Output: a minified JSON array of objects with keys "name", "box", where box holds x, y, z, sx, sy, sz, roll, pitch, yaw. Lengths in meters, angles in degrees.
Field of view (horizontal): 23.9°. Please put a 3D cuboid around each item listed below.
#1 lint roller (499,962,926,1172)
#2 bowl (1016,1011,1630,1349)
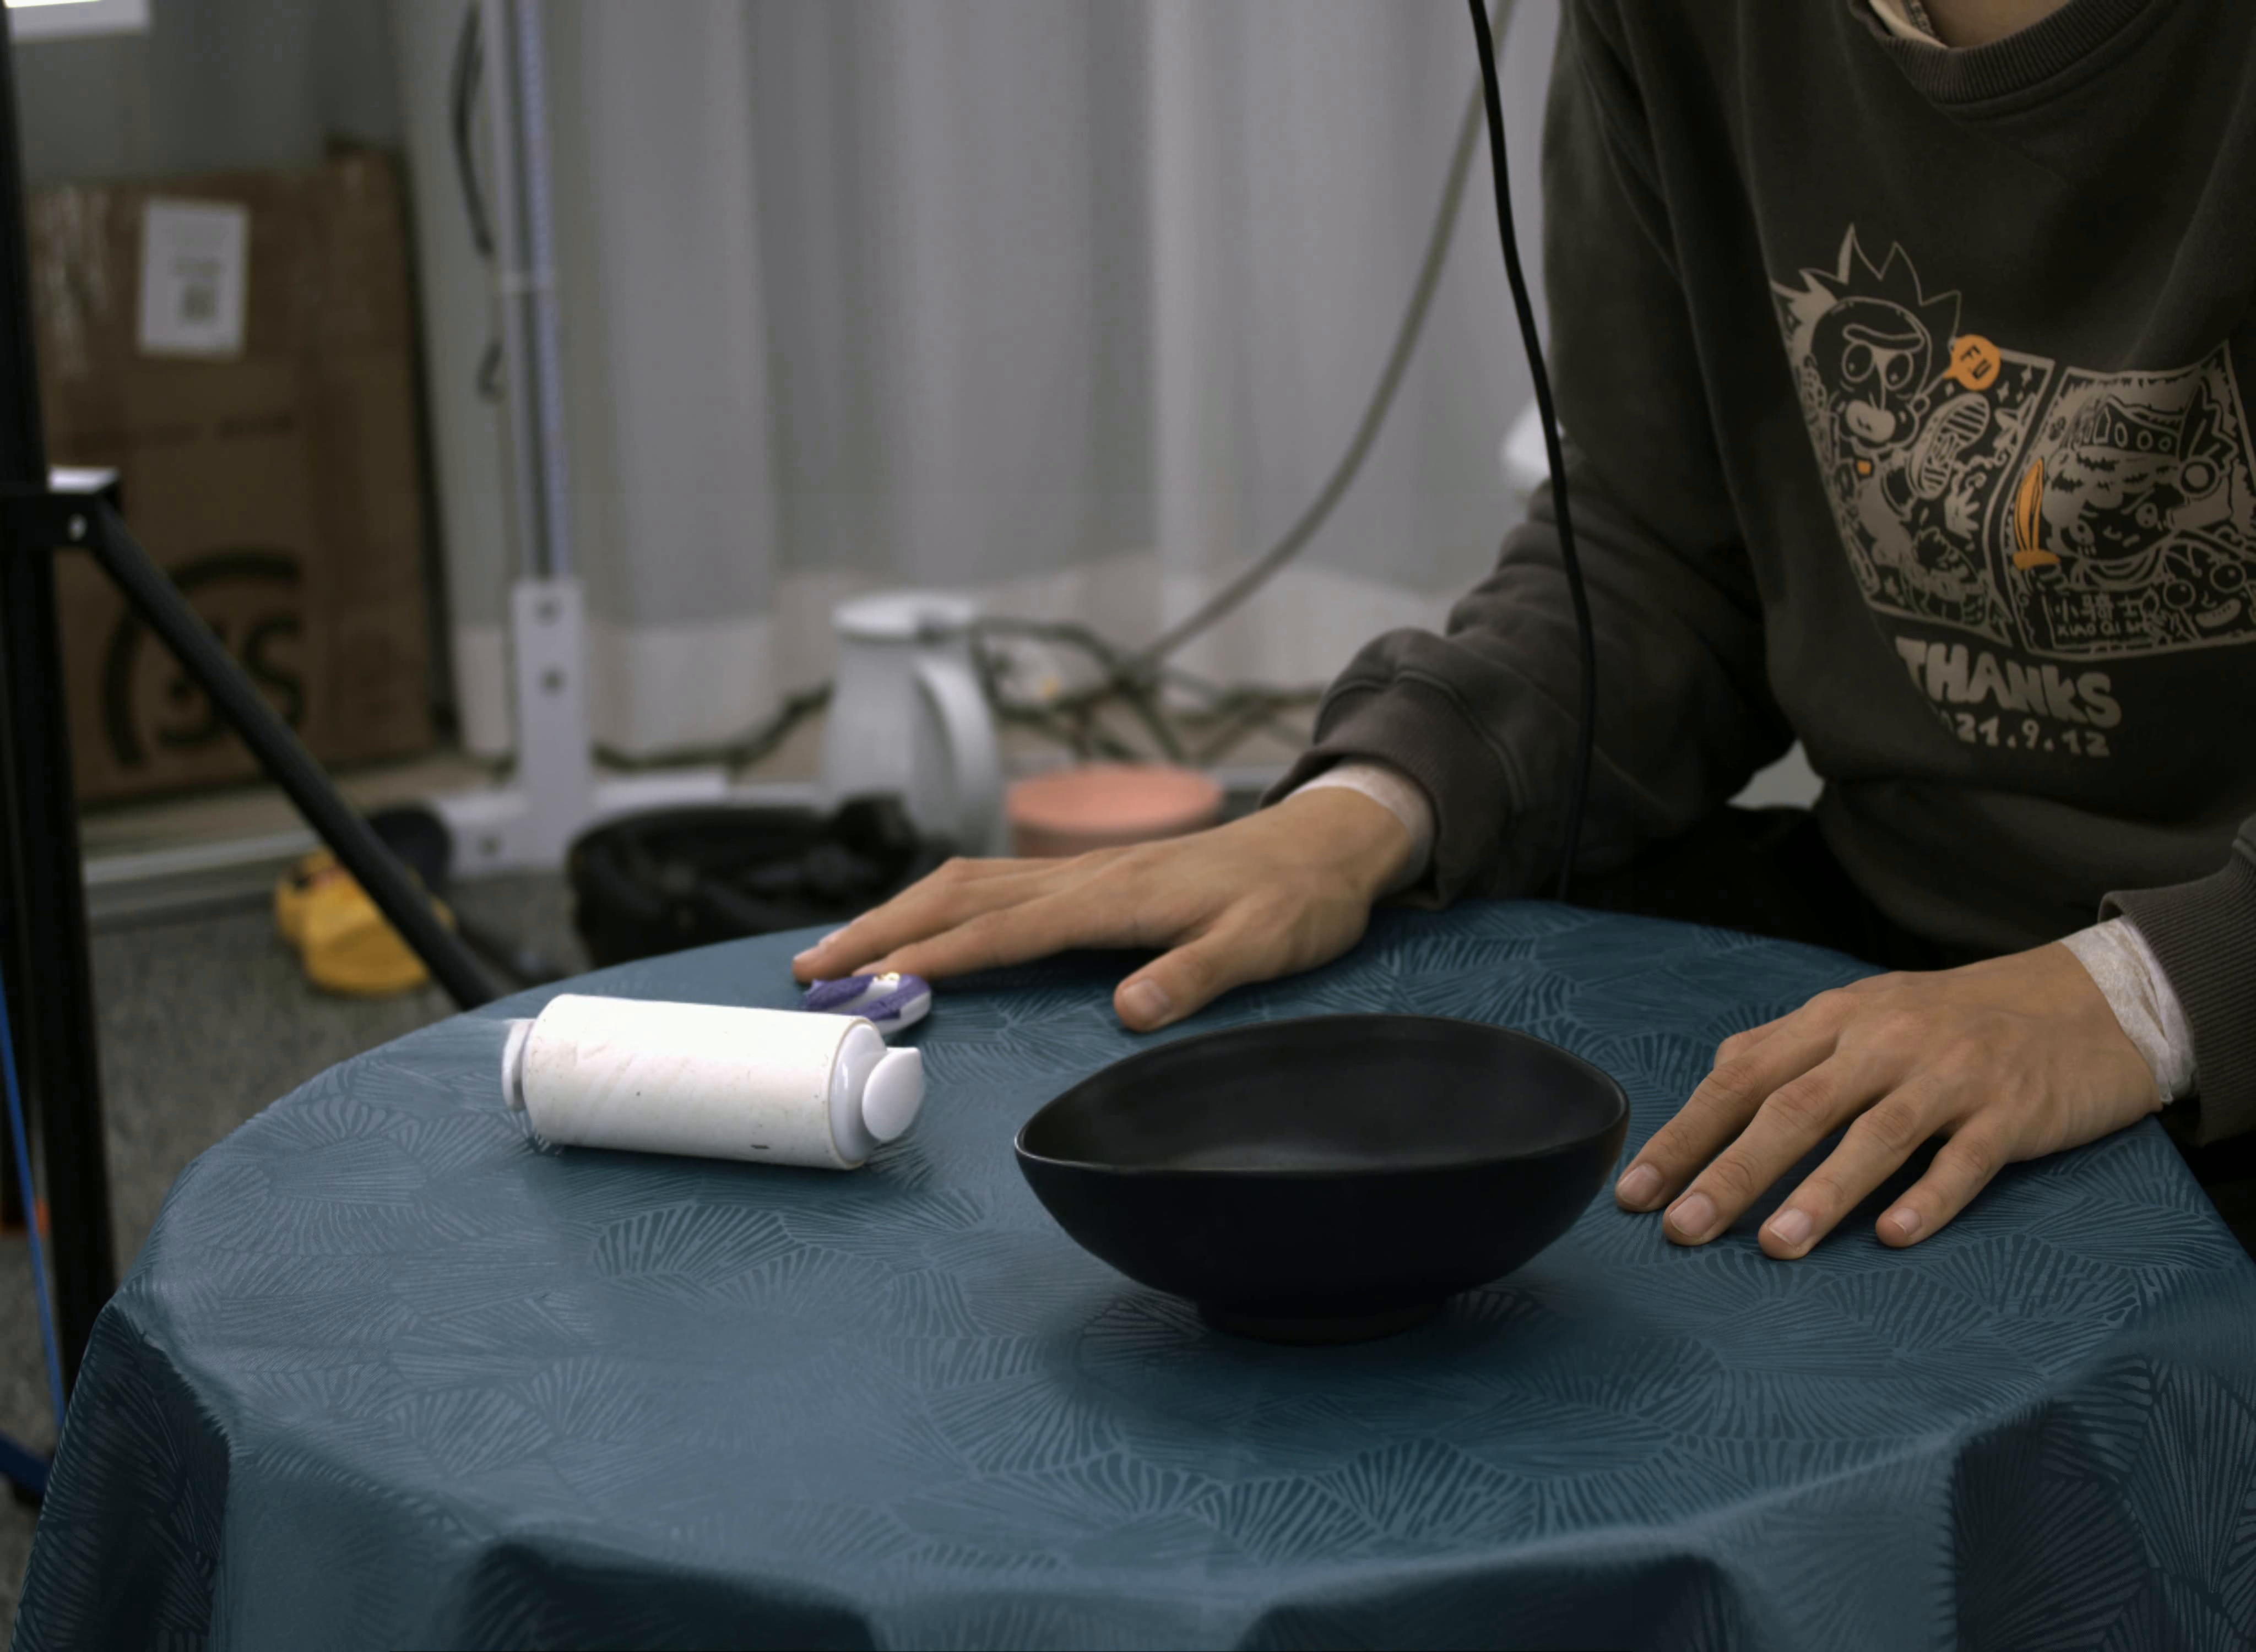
[{"name":"lint roller","box":[-0.104,0.058,1.668,0.135,0.050,0.178,4,19,23]},{"name":"bowl","box":[0.054,0.103,1.457,0.170,0.067,0.137,-2,14,8]}]
